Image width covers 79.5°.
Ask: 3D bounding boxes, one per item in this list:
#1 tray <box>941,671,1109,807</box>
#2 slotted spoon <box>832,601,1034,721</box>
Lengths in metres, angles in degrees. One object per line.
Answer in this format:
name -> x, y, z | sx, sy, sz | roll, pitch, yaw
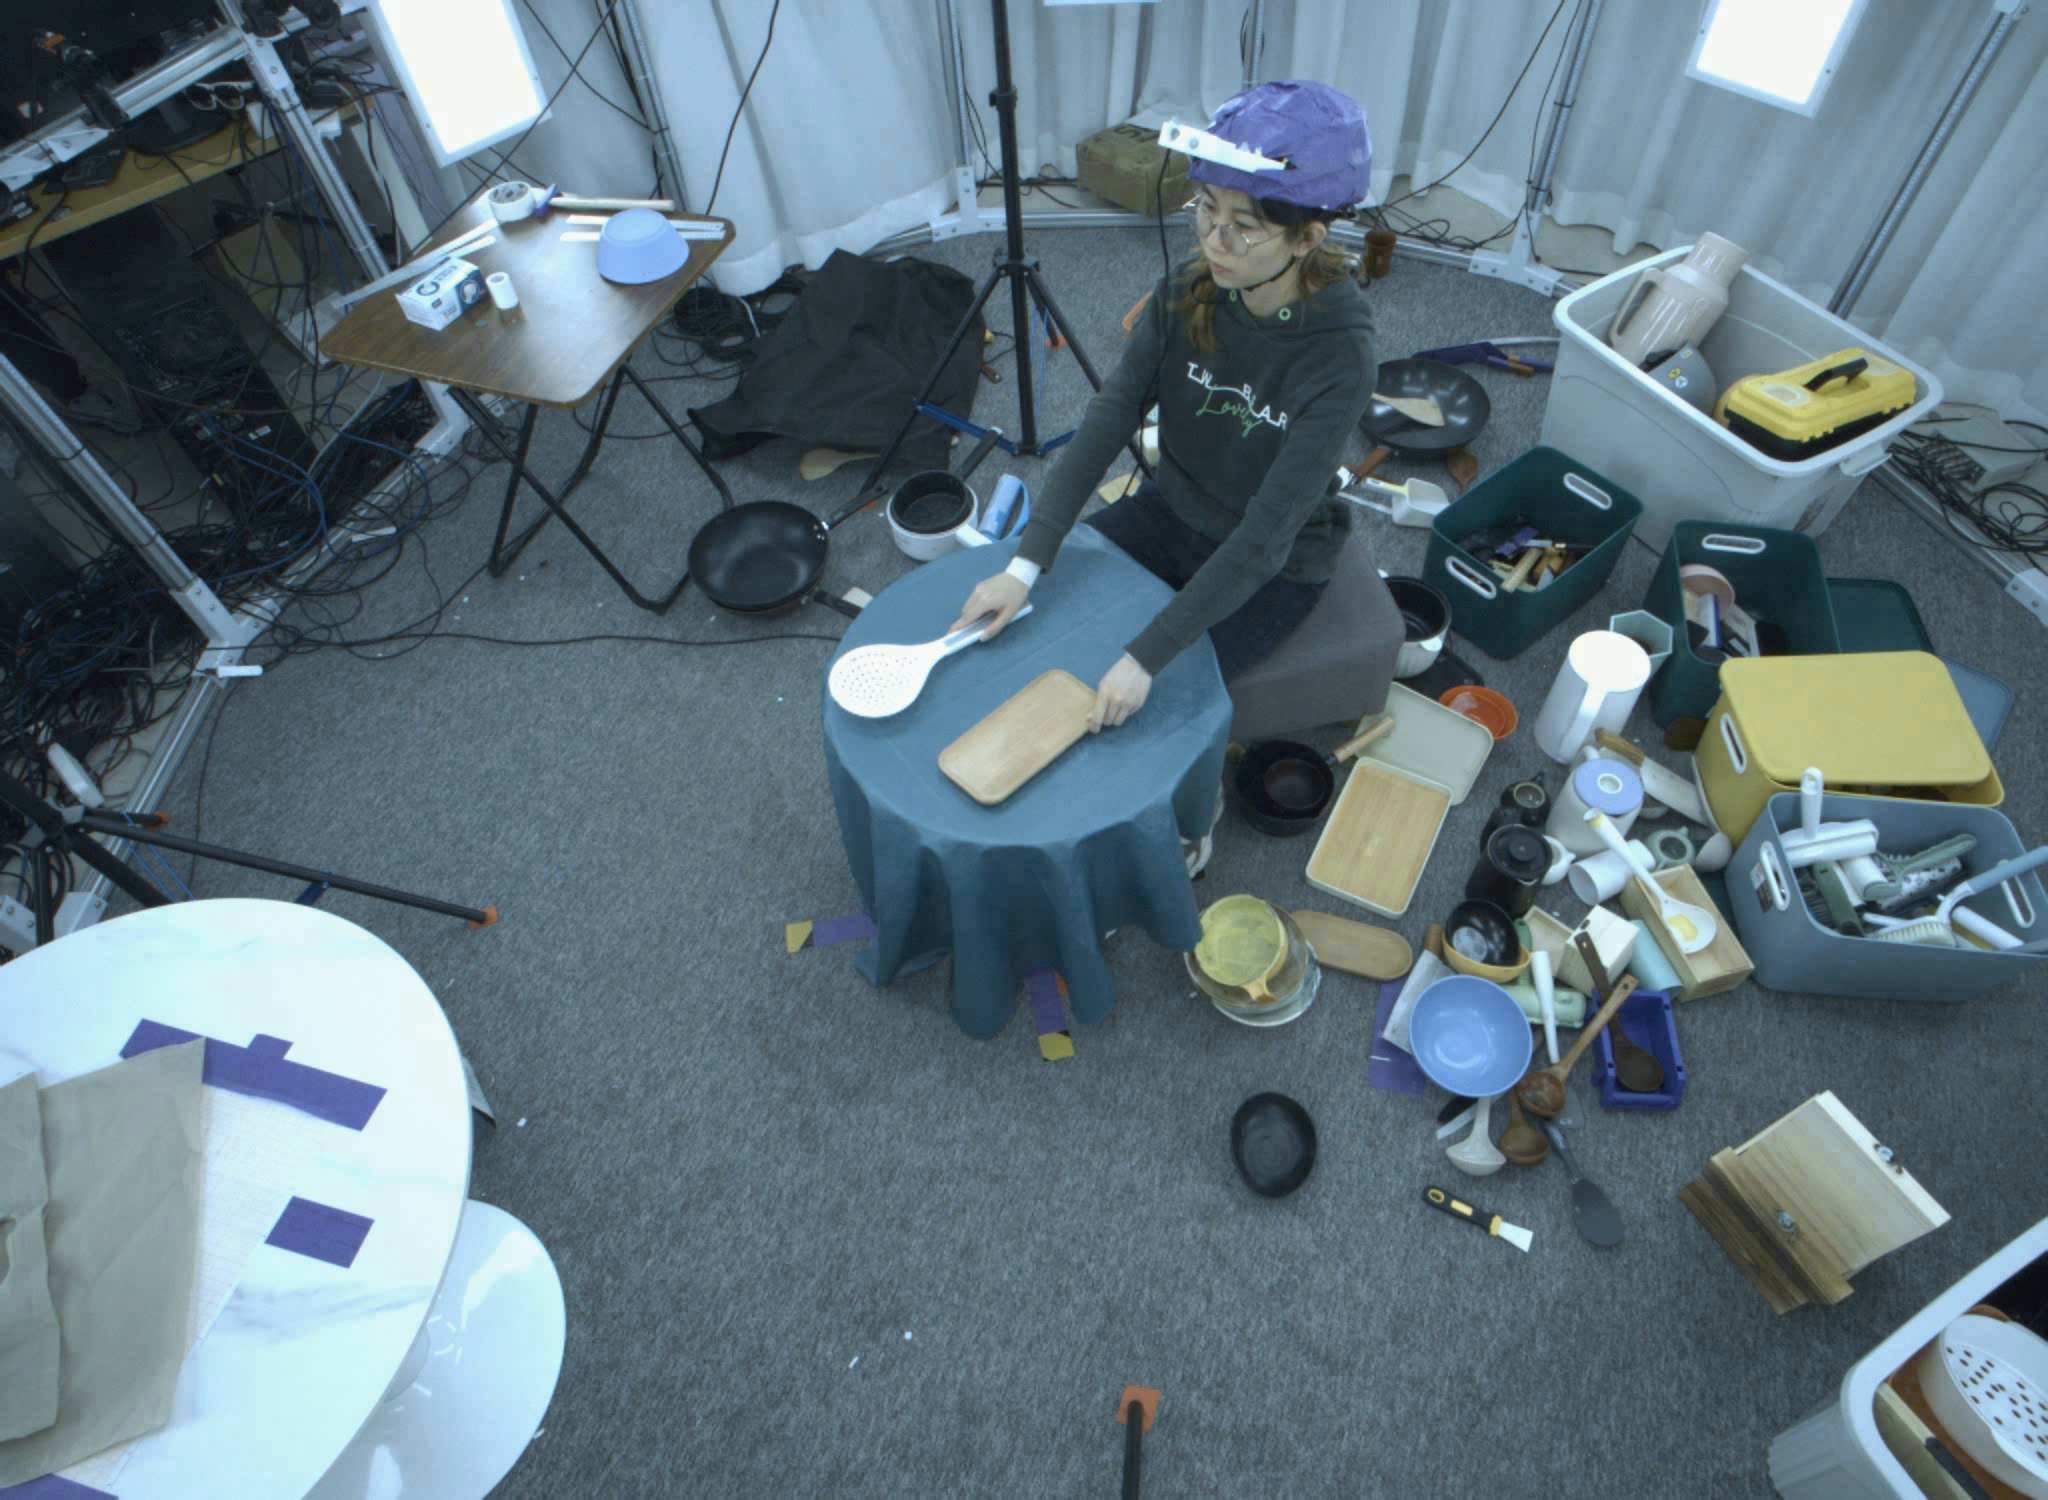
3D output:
tray -> 0.003, -0.017, 1.794 | 0.252, 0.023, 0.128 | -38, 60, -22
slotted spoon -> -0.132, -0.146, 1.873 | 0.352, 0.046, 0.134 | -32, 65, -19
